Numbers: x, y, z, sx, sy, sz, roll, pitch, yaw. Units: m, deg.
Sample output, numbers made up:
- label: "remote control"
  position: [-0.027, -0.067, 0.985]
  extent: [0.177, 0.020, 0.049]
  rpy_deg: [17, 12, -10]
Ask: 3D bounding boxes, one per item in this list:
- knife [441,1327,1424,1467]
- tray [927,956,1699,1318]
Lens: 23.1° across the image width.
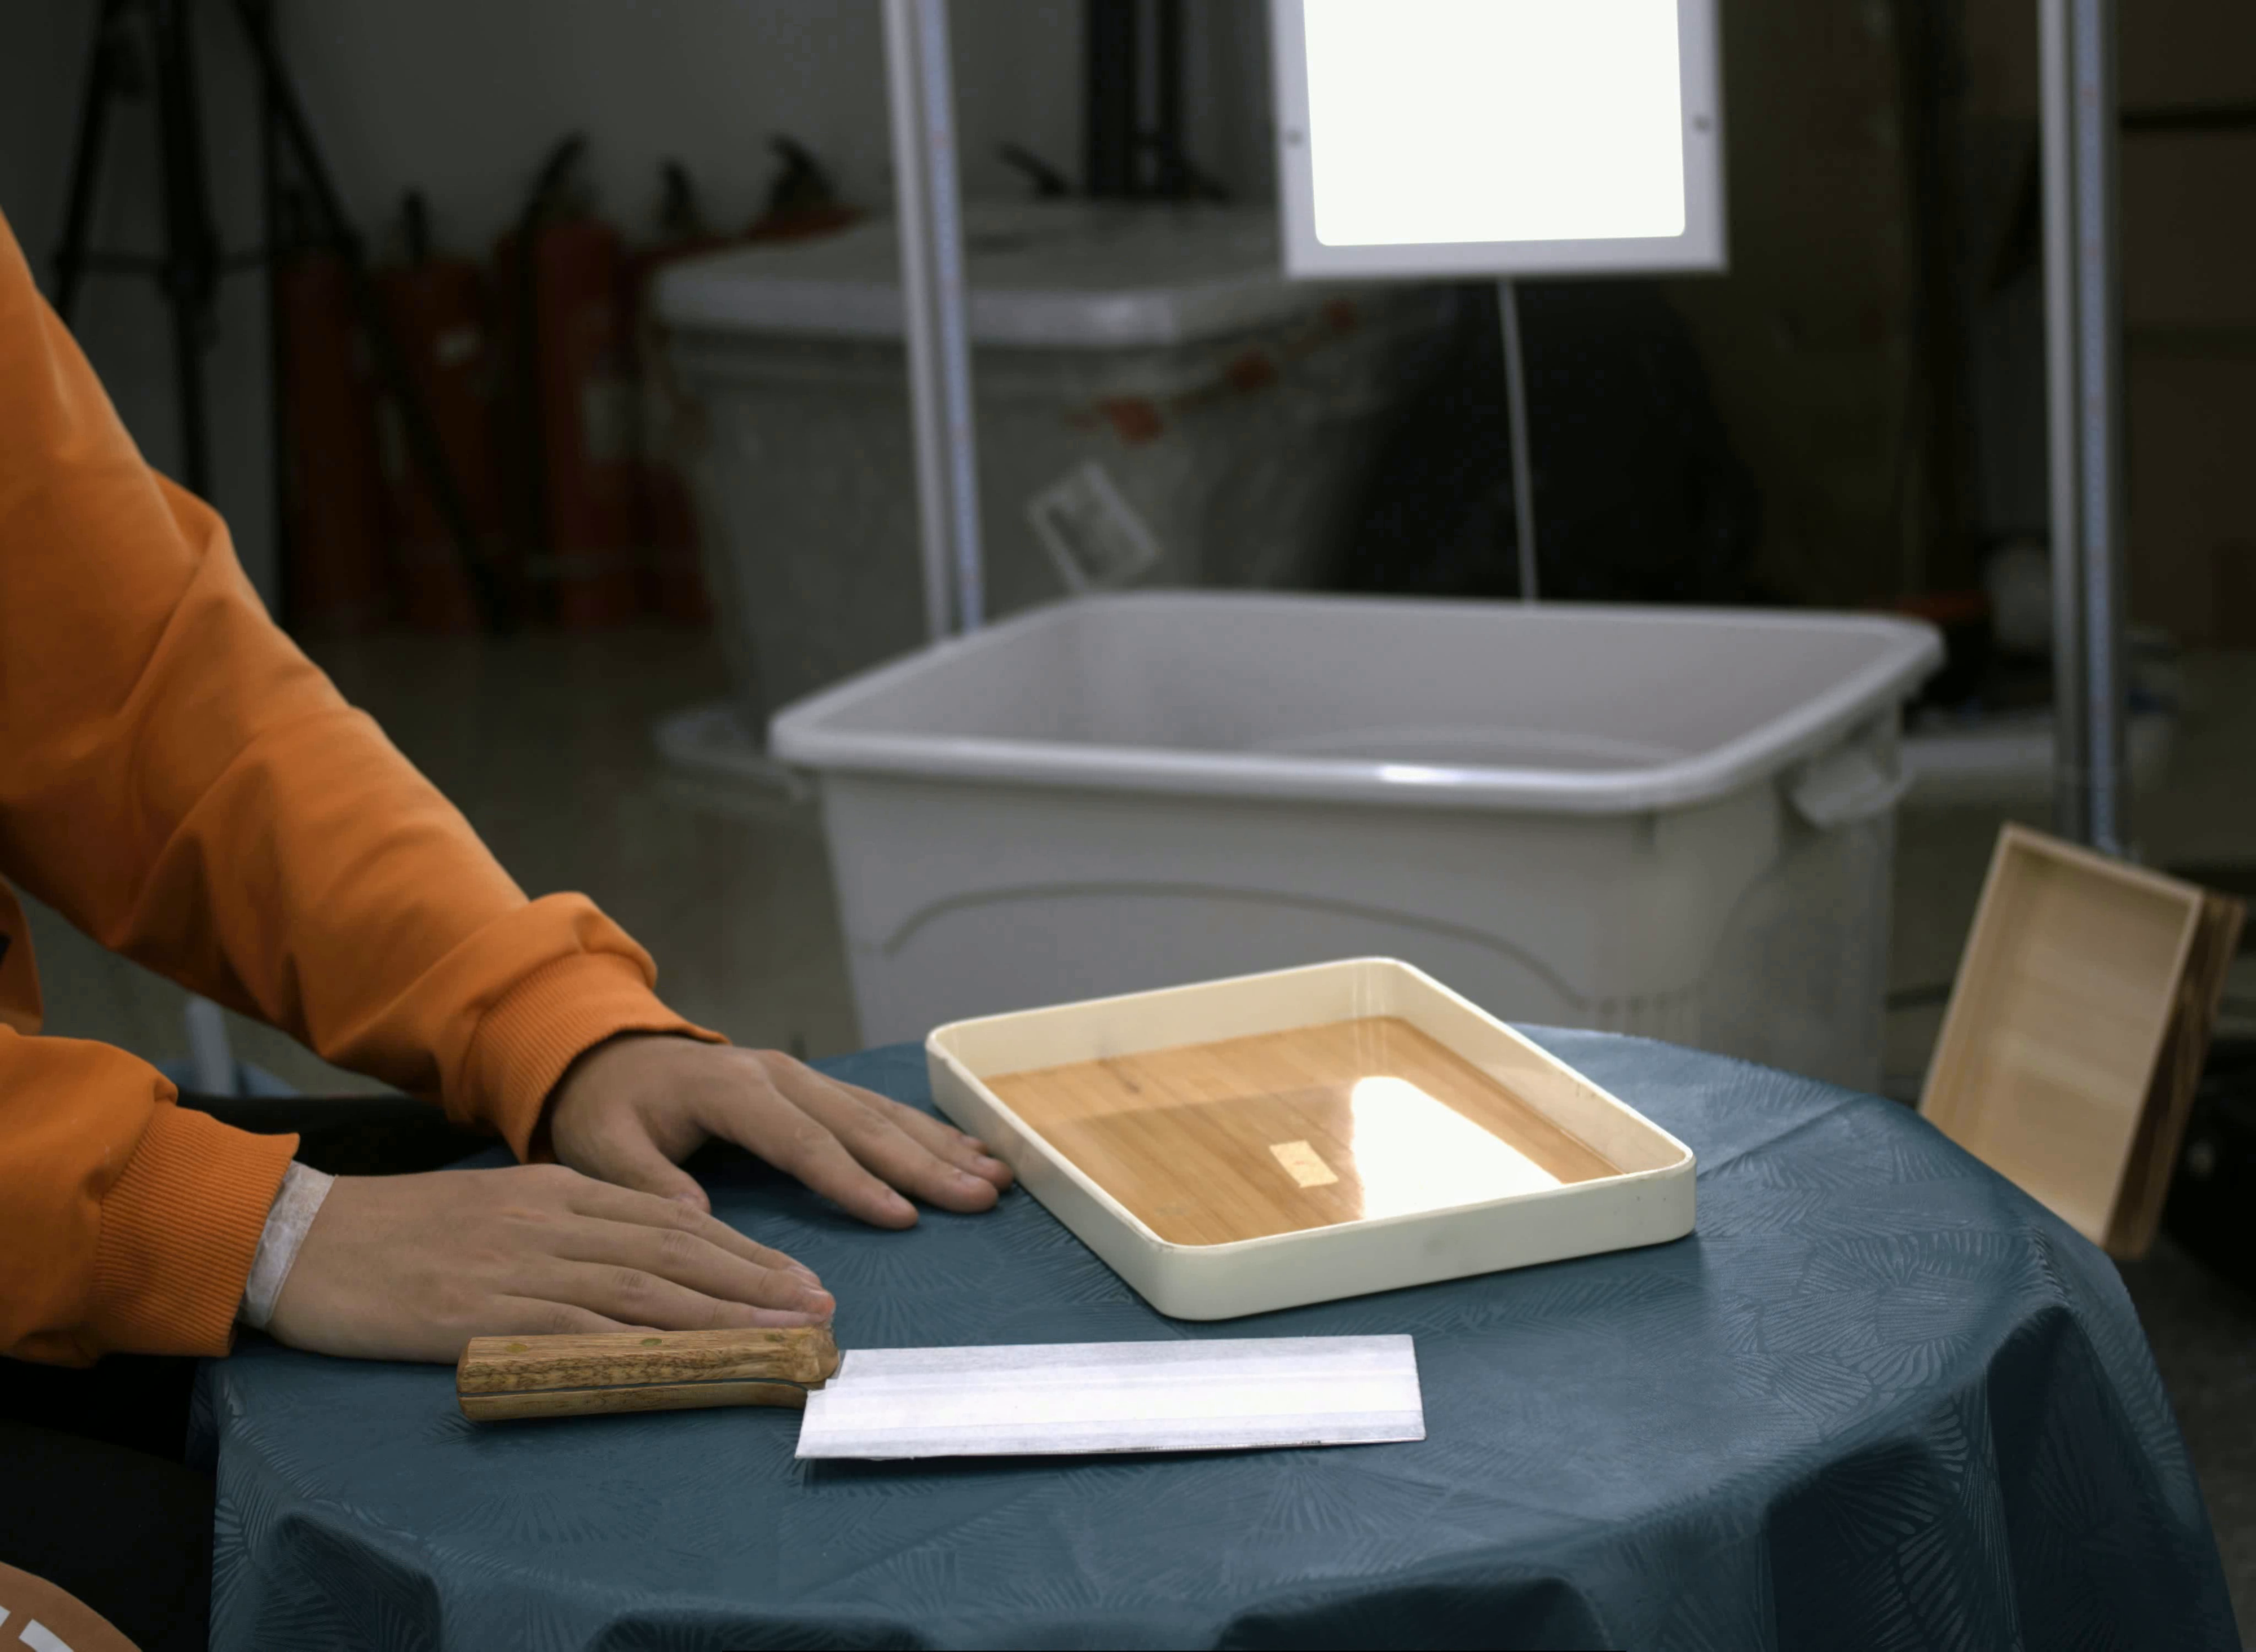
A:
- label: "knife"
  position: [-0.062, 0.175, 1.689]
  extent: [0.306, 0.021, 0.092]
  rpy_deg: [-2, 15, 3]
- label: "tray"
  position: [0.058, 0.104, 1.909]
  extent: [0.189, 0.027, 0.303]
  rpy_deg: [-9, 15, -15]
